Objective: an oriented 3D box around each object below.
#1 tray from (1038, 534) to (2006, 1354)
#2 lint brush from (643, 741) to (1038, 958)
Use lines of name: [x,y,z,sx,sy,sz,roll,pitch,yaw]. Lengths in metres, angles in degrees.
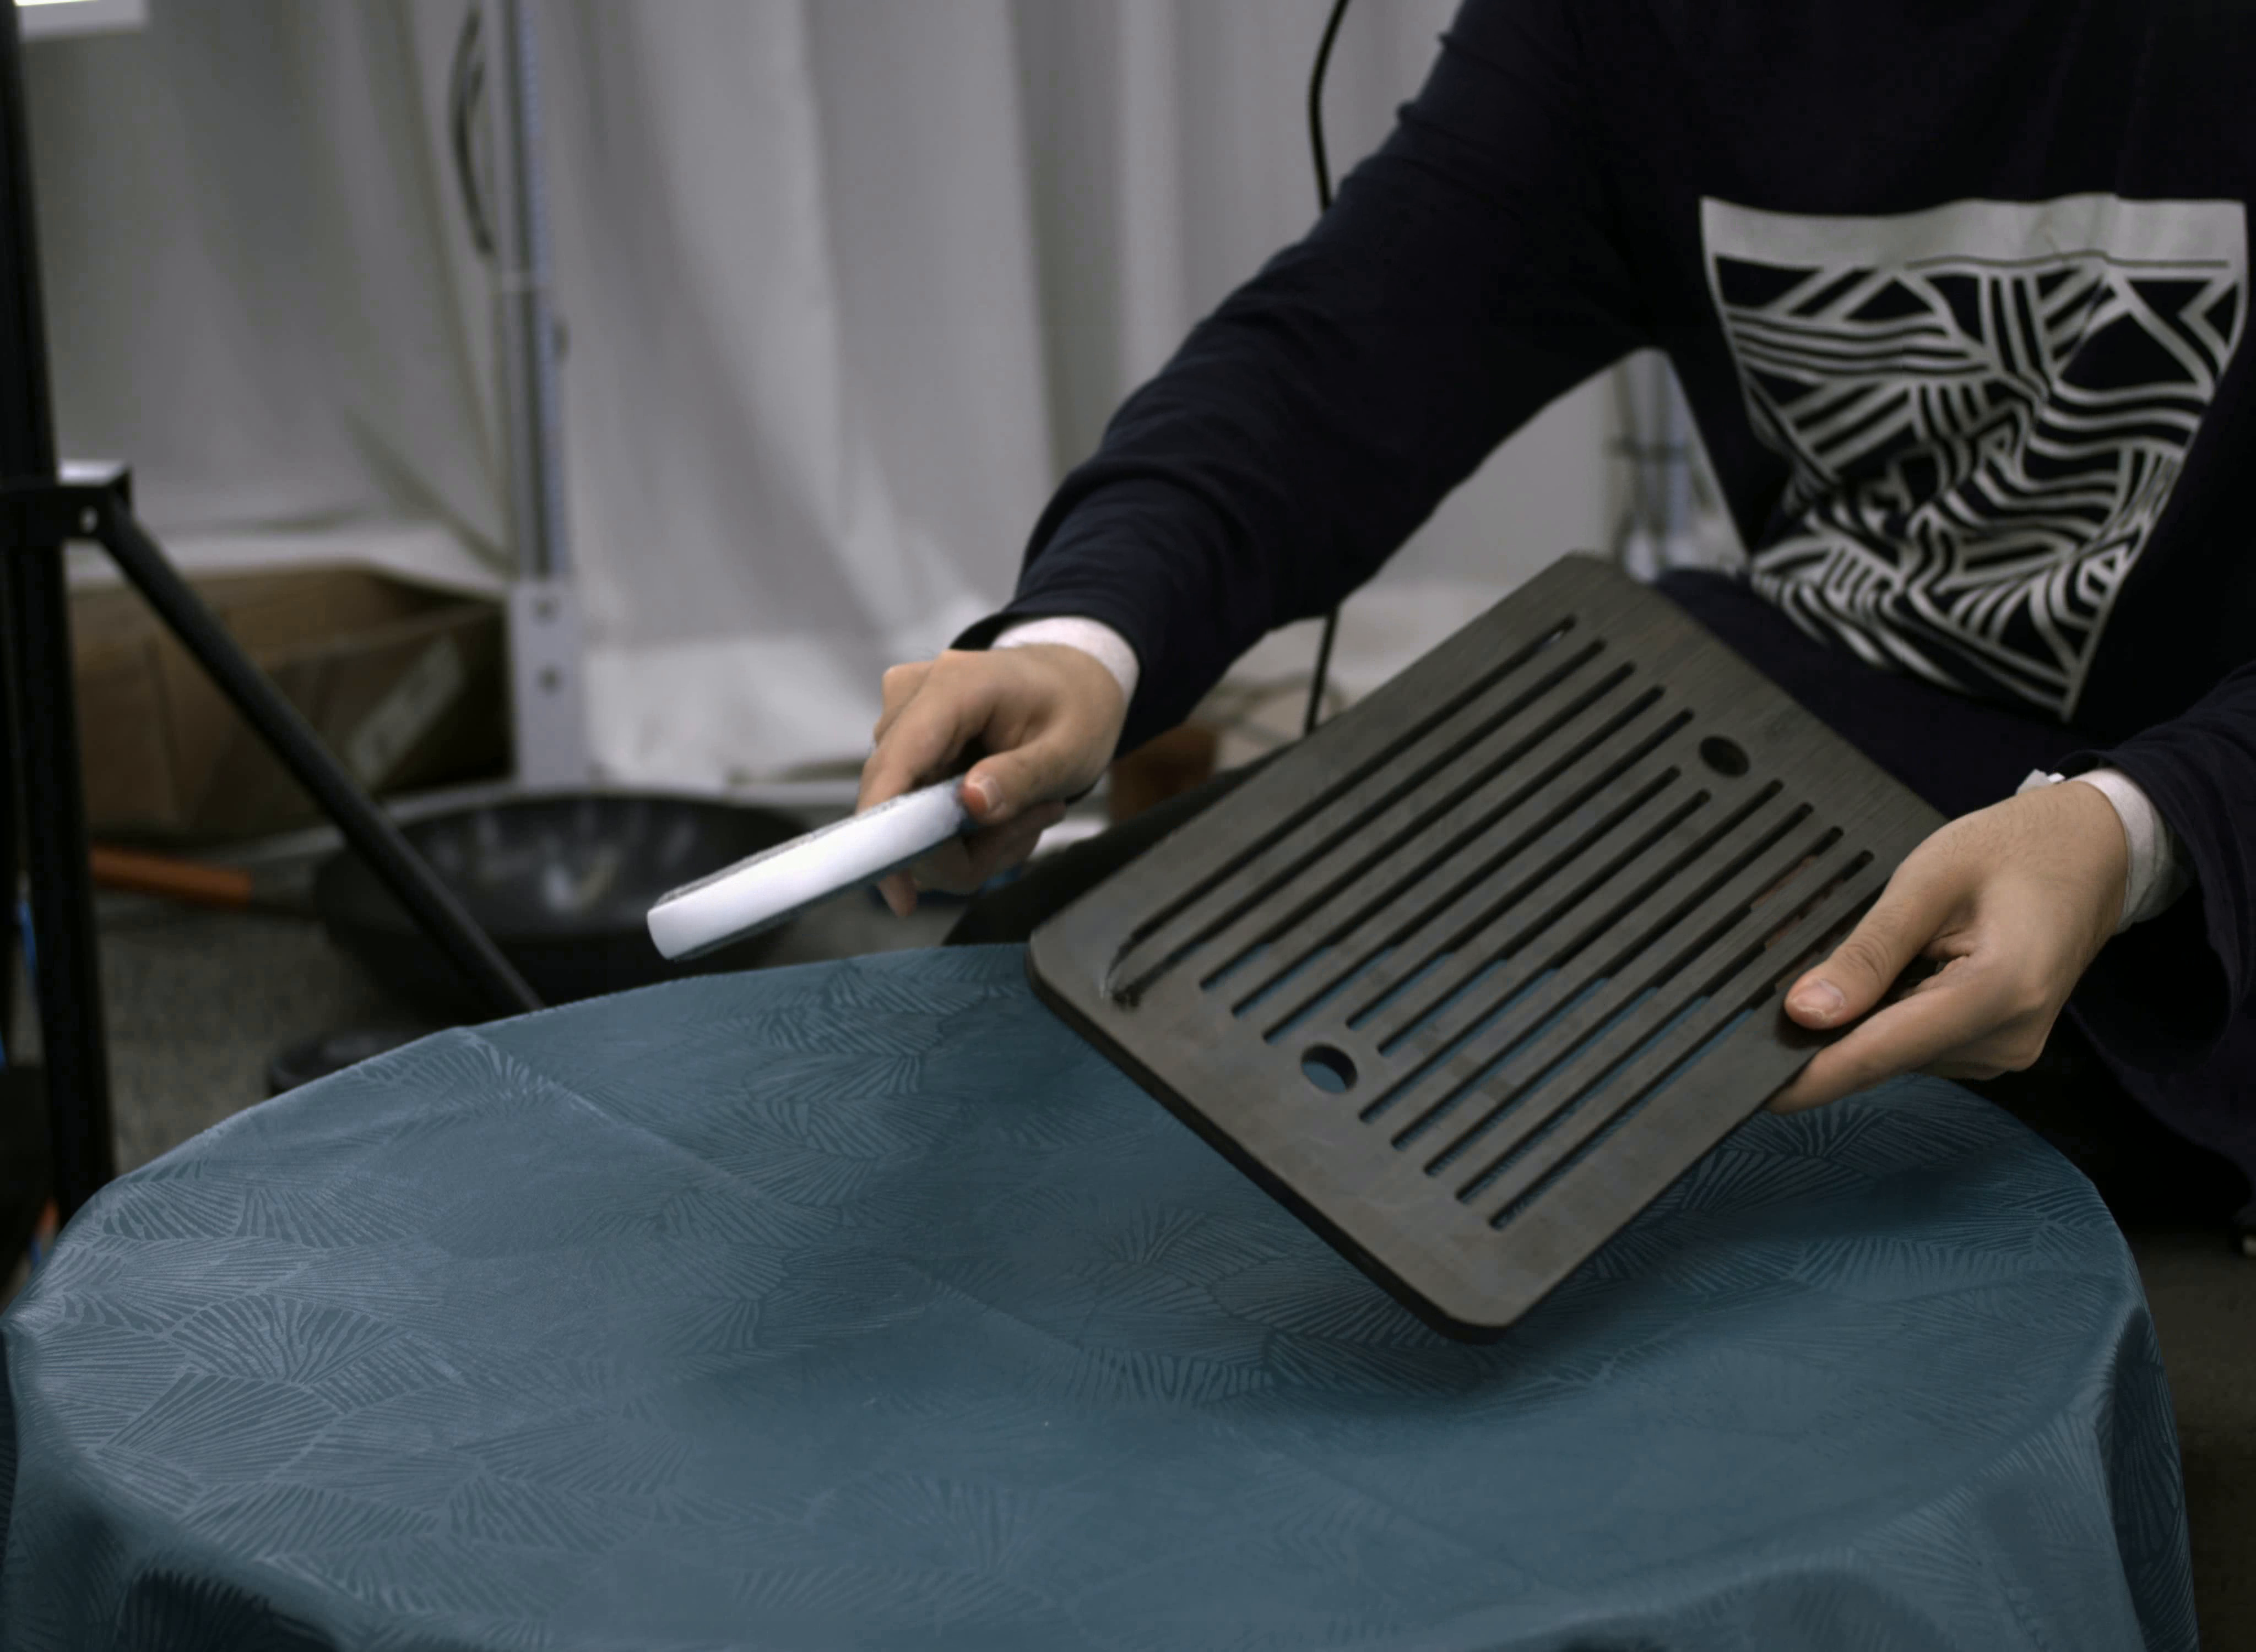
tray: [0.118,0.028,1.517,0.172,0.019,0.301,40,44,15]
lint brush: [-0.077,0.002,1.614,0.060,0.021,0.305,-27,1,17]
